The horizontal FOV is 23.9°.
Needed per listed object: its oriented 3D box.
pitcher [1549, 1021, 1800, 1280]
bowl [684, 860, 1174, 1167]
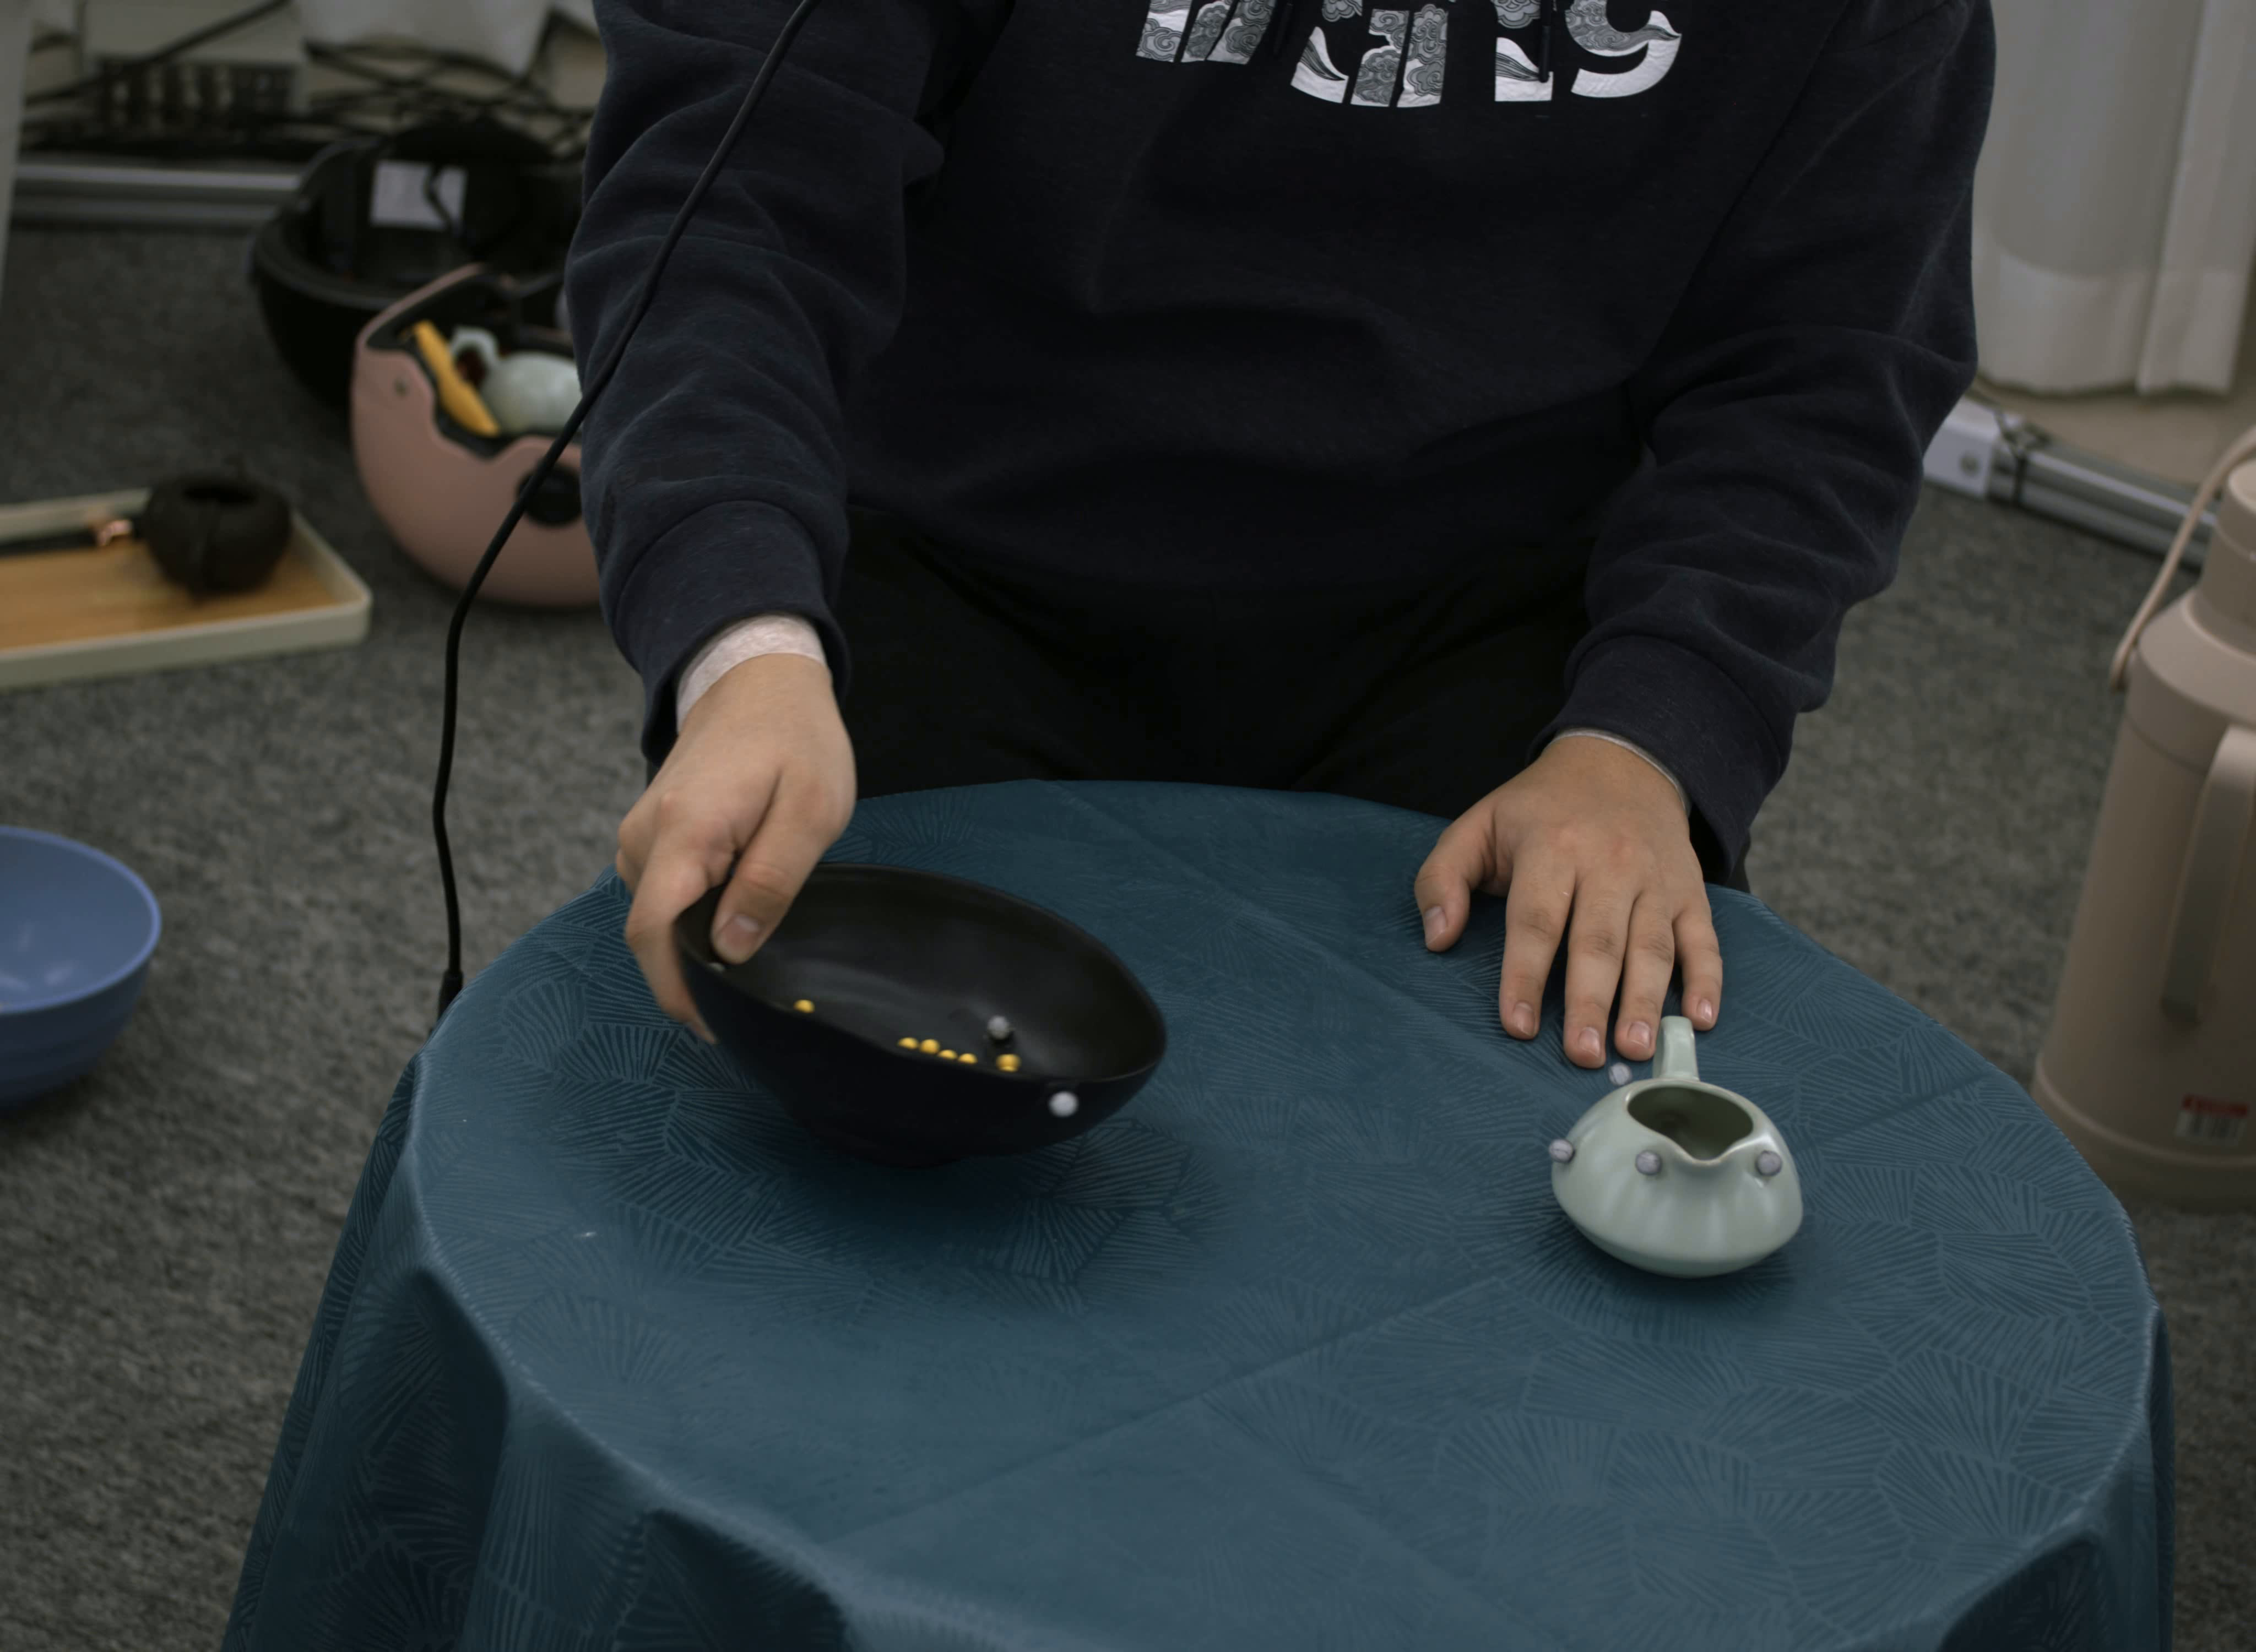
[{"bbox_3d":[0.186,0.112,1.813,0.085,0.060,0.108,6,25,-5],"label":"pitcher"},{"bbox_3d":[-0.073,0.072,1.794,0.170,0.066,0.138,17,24,1],"label":"bowl"}]
